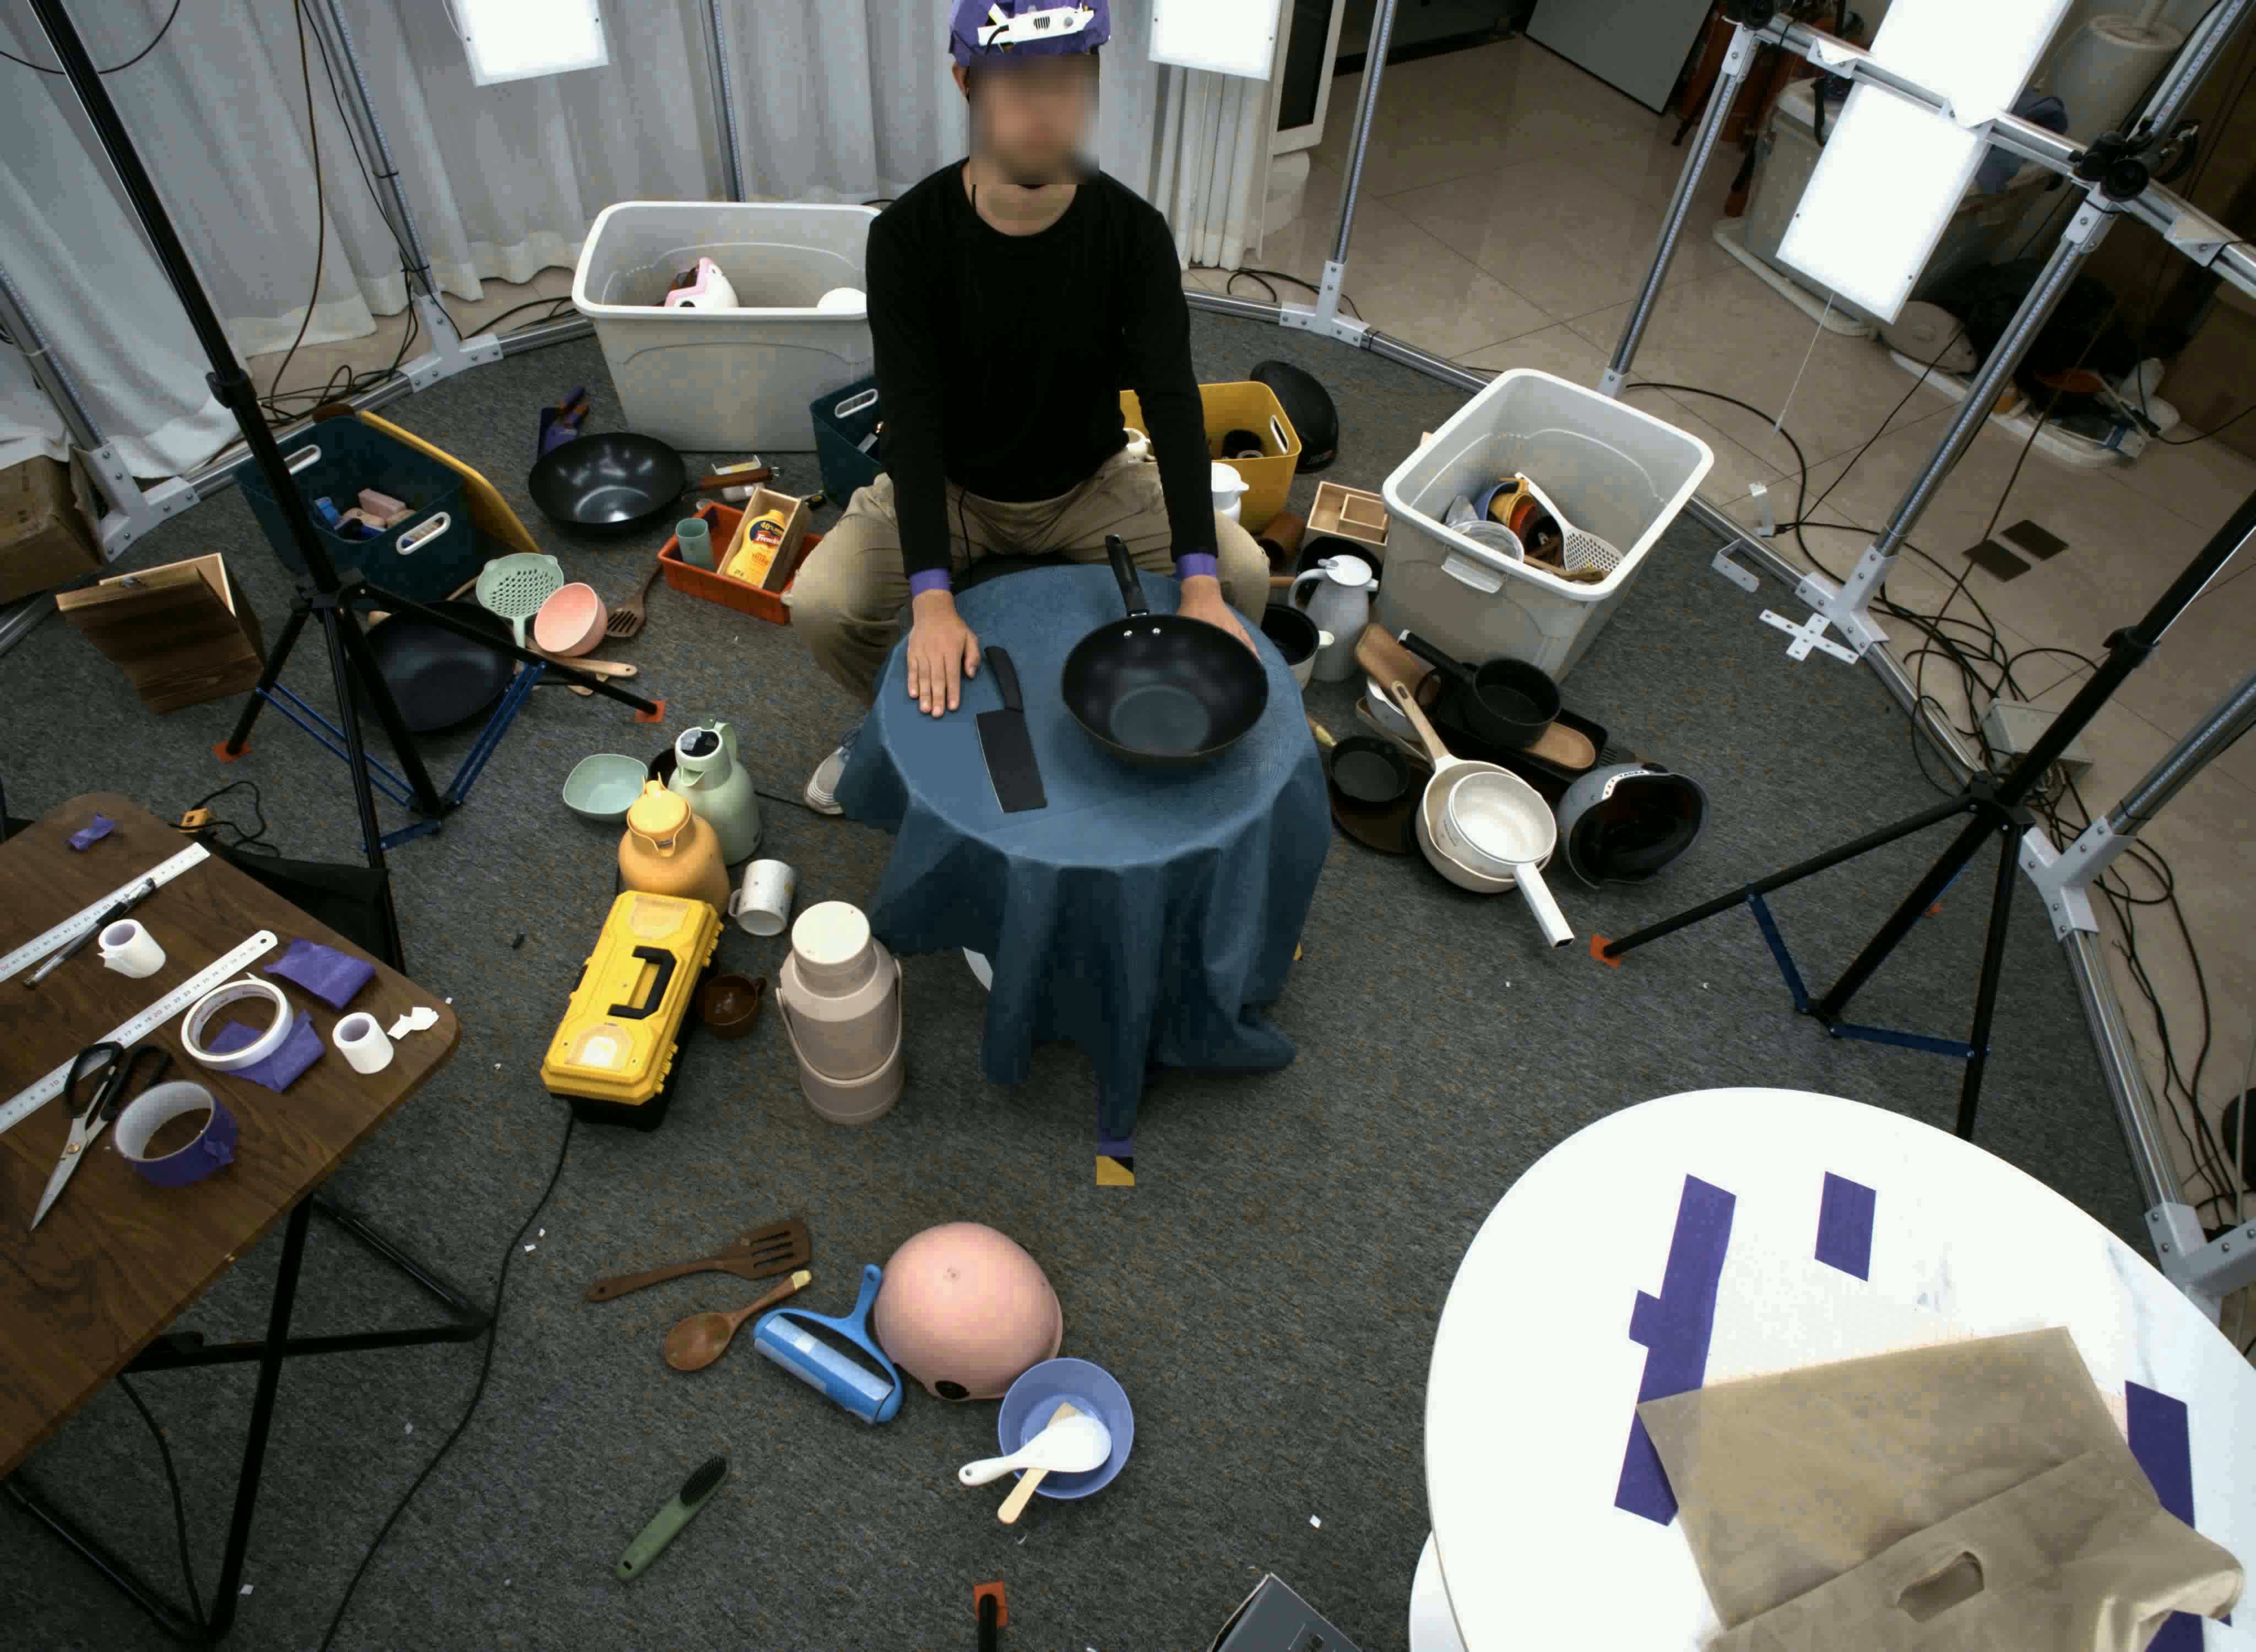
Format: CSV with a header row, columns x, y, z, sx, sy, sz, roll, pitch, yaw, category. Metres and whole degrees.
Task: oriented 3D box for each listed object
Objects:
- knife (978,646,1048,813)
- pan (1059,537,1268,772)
x,y,z,sx,sy,sz,roll,pitch,yaw,category
-0.166,-0.137,1.770,0.081,0.020,0.310,-6,52,-7,knife
0.028,-0.239,1.825,0.288,0.085,0.475,-8,50,-10,pan
